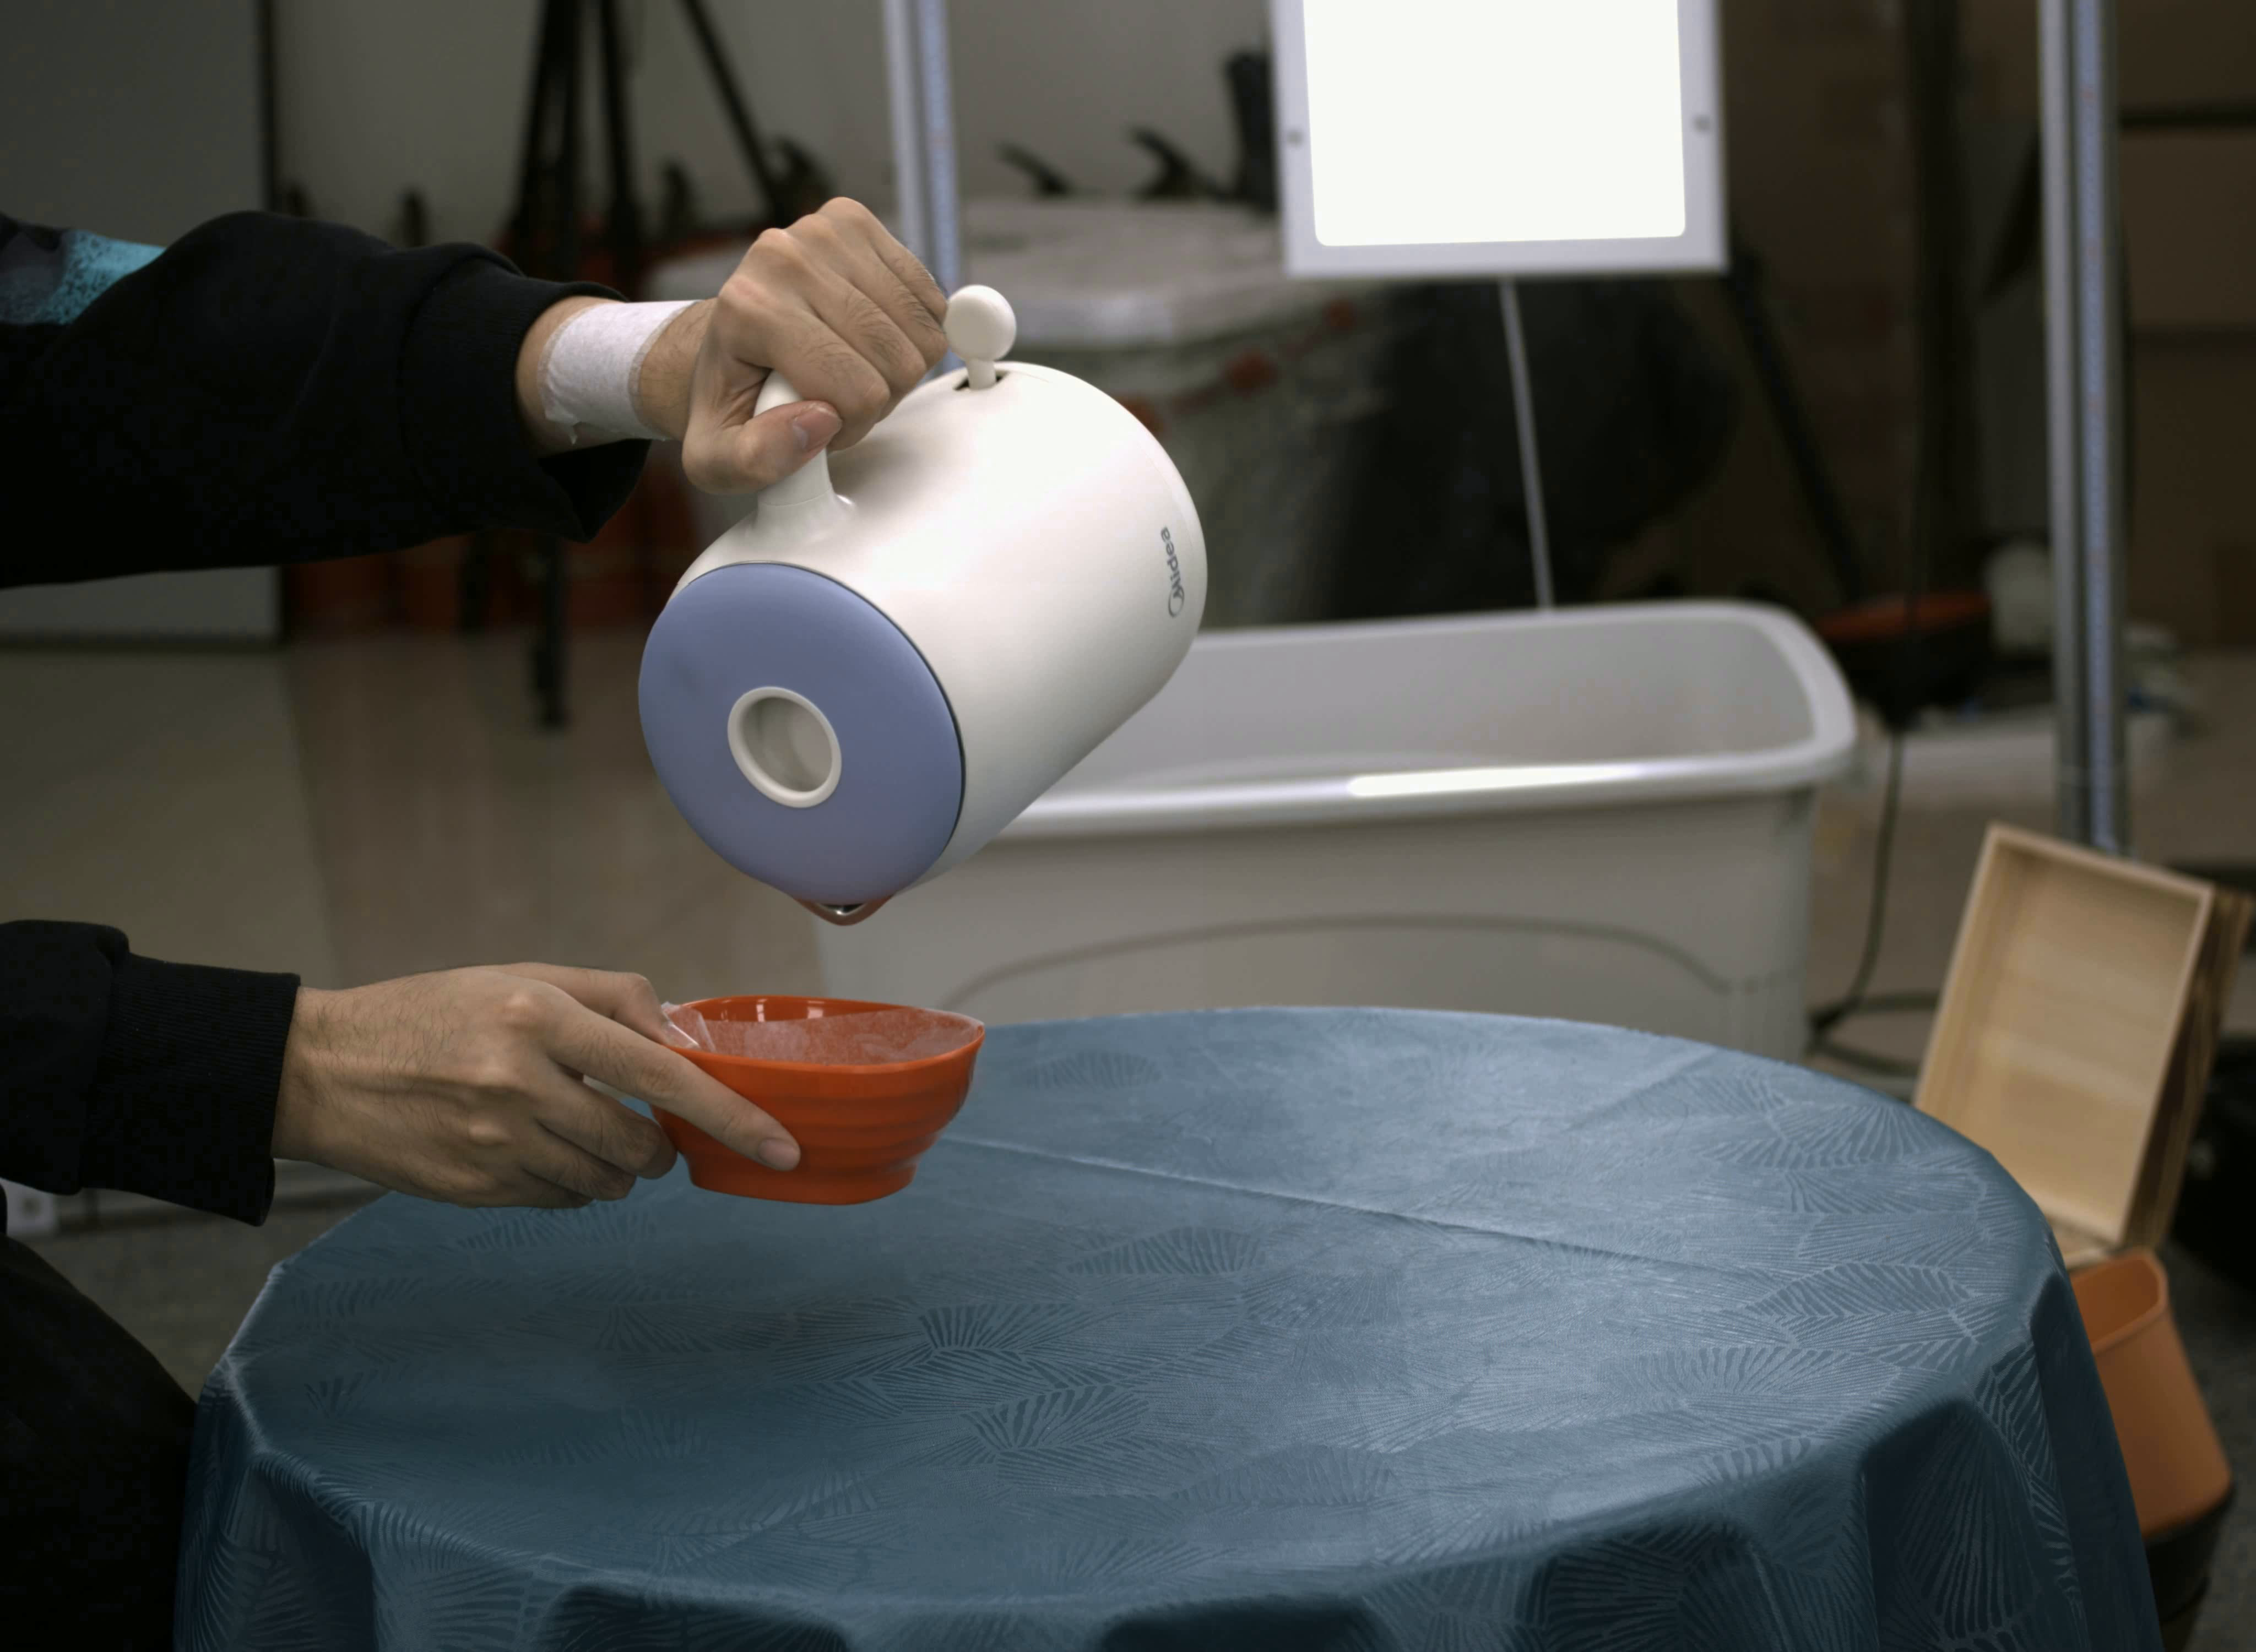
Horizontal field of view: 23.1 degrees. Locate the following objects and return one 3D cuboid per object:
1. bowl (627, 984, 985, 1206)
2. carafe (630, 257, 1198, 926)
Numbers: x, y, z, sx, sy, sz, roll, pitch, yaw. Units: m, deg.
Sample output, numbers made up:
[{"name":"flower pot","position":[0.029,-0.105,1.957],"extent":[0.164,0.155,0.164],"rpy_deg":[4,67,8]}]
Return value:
[{"name":"bowl","position":[-0.104,0.088,1.770],"extent":[0.118,0.051,0.119],"rpy_deg":[3,11,-2]},{"name":"carafe","position":[-0.074,-0.086,1.793],"extent":[0.135,0.191,0.178],"rpy_deg":[0,23,31]}]
